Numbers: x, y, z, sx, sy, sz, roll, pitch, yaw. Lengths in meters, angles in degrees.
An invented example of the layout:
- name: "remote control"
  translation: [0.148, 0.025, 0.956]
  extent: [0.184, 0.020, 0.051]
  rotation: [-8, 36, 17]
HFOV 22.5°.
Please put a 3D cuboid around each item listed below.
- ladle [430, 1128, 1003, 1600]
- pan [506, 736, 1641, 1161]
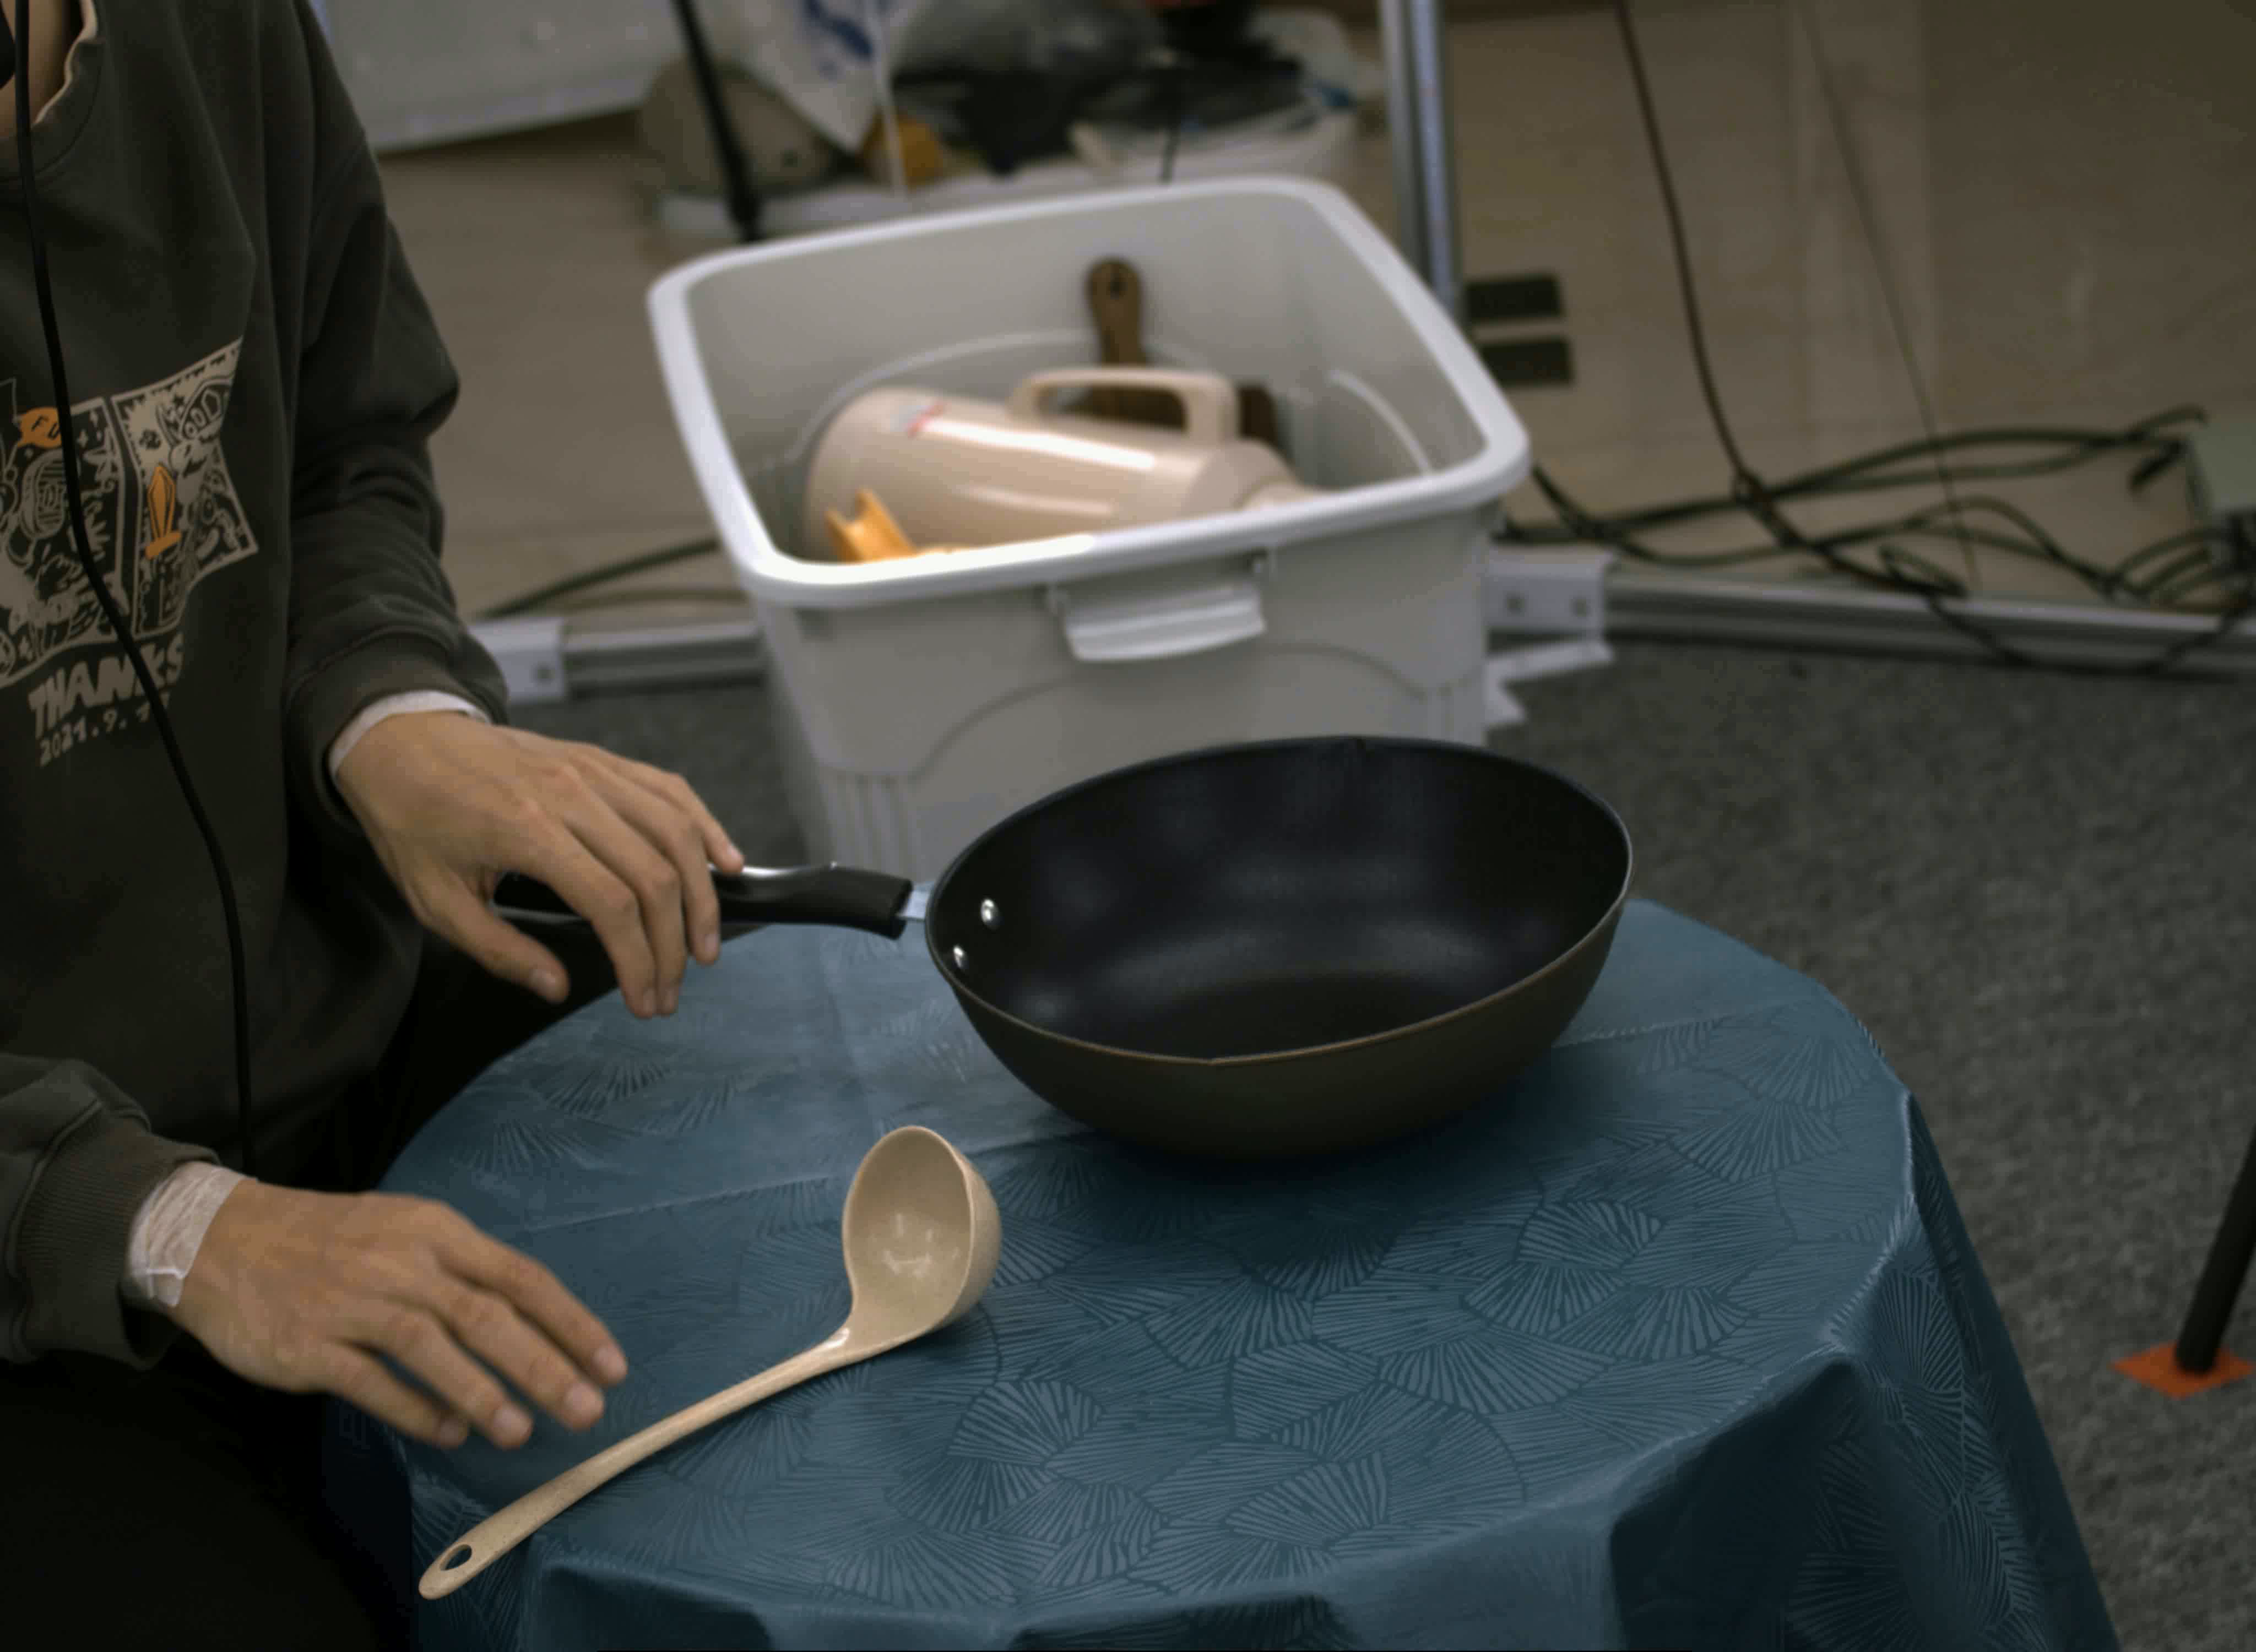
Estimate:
- name: "ladle"
  translation: [-0.150, 0.185, 2.006]
  extent: [0.252, 0.074, 0.071]
  rotation: [-28, 36, -35]
- name: "pan"
  translation: [-0.025, 0.057, 2.229]
  extent: [0.462, 0.088, 0.284]
  rotation: [0, 26, 16]
